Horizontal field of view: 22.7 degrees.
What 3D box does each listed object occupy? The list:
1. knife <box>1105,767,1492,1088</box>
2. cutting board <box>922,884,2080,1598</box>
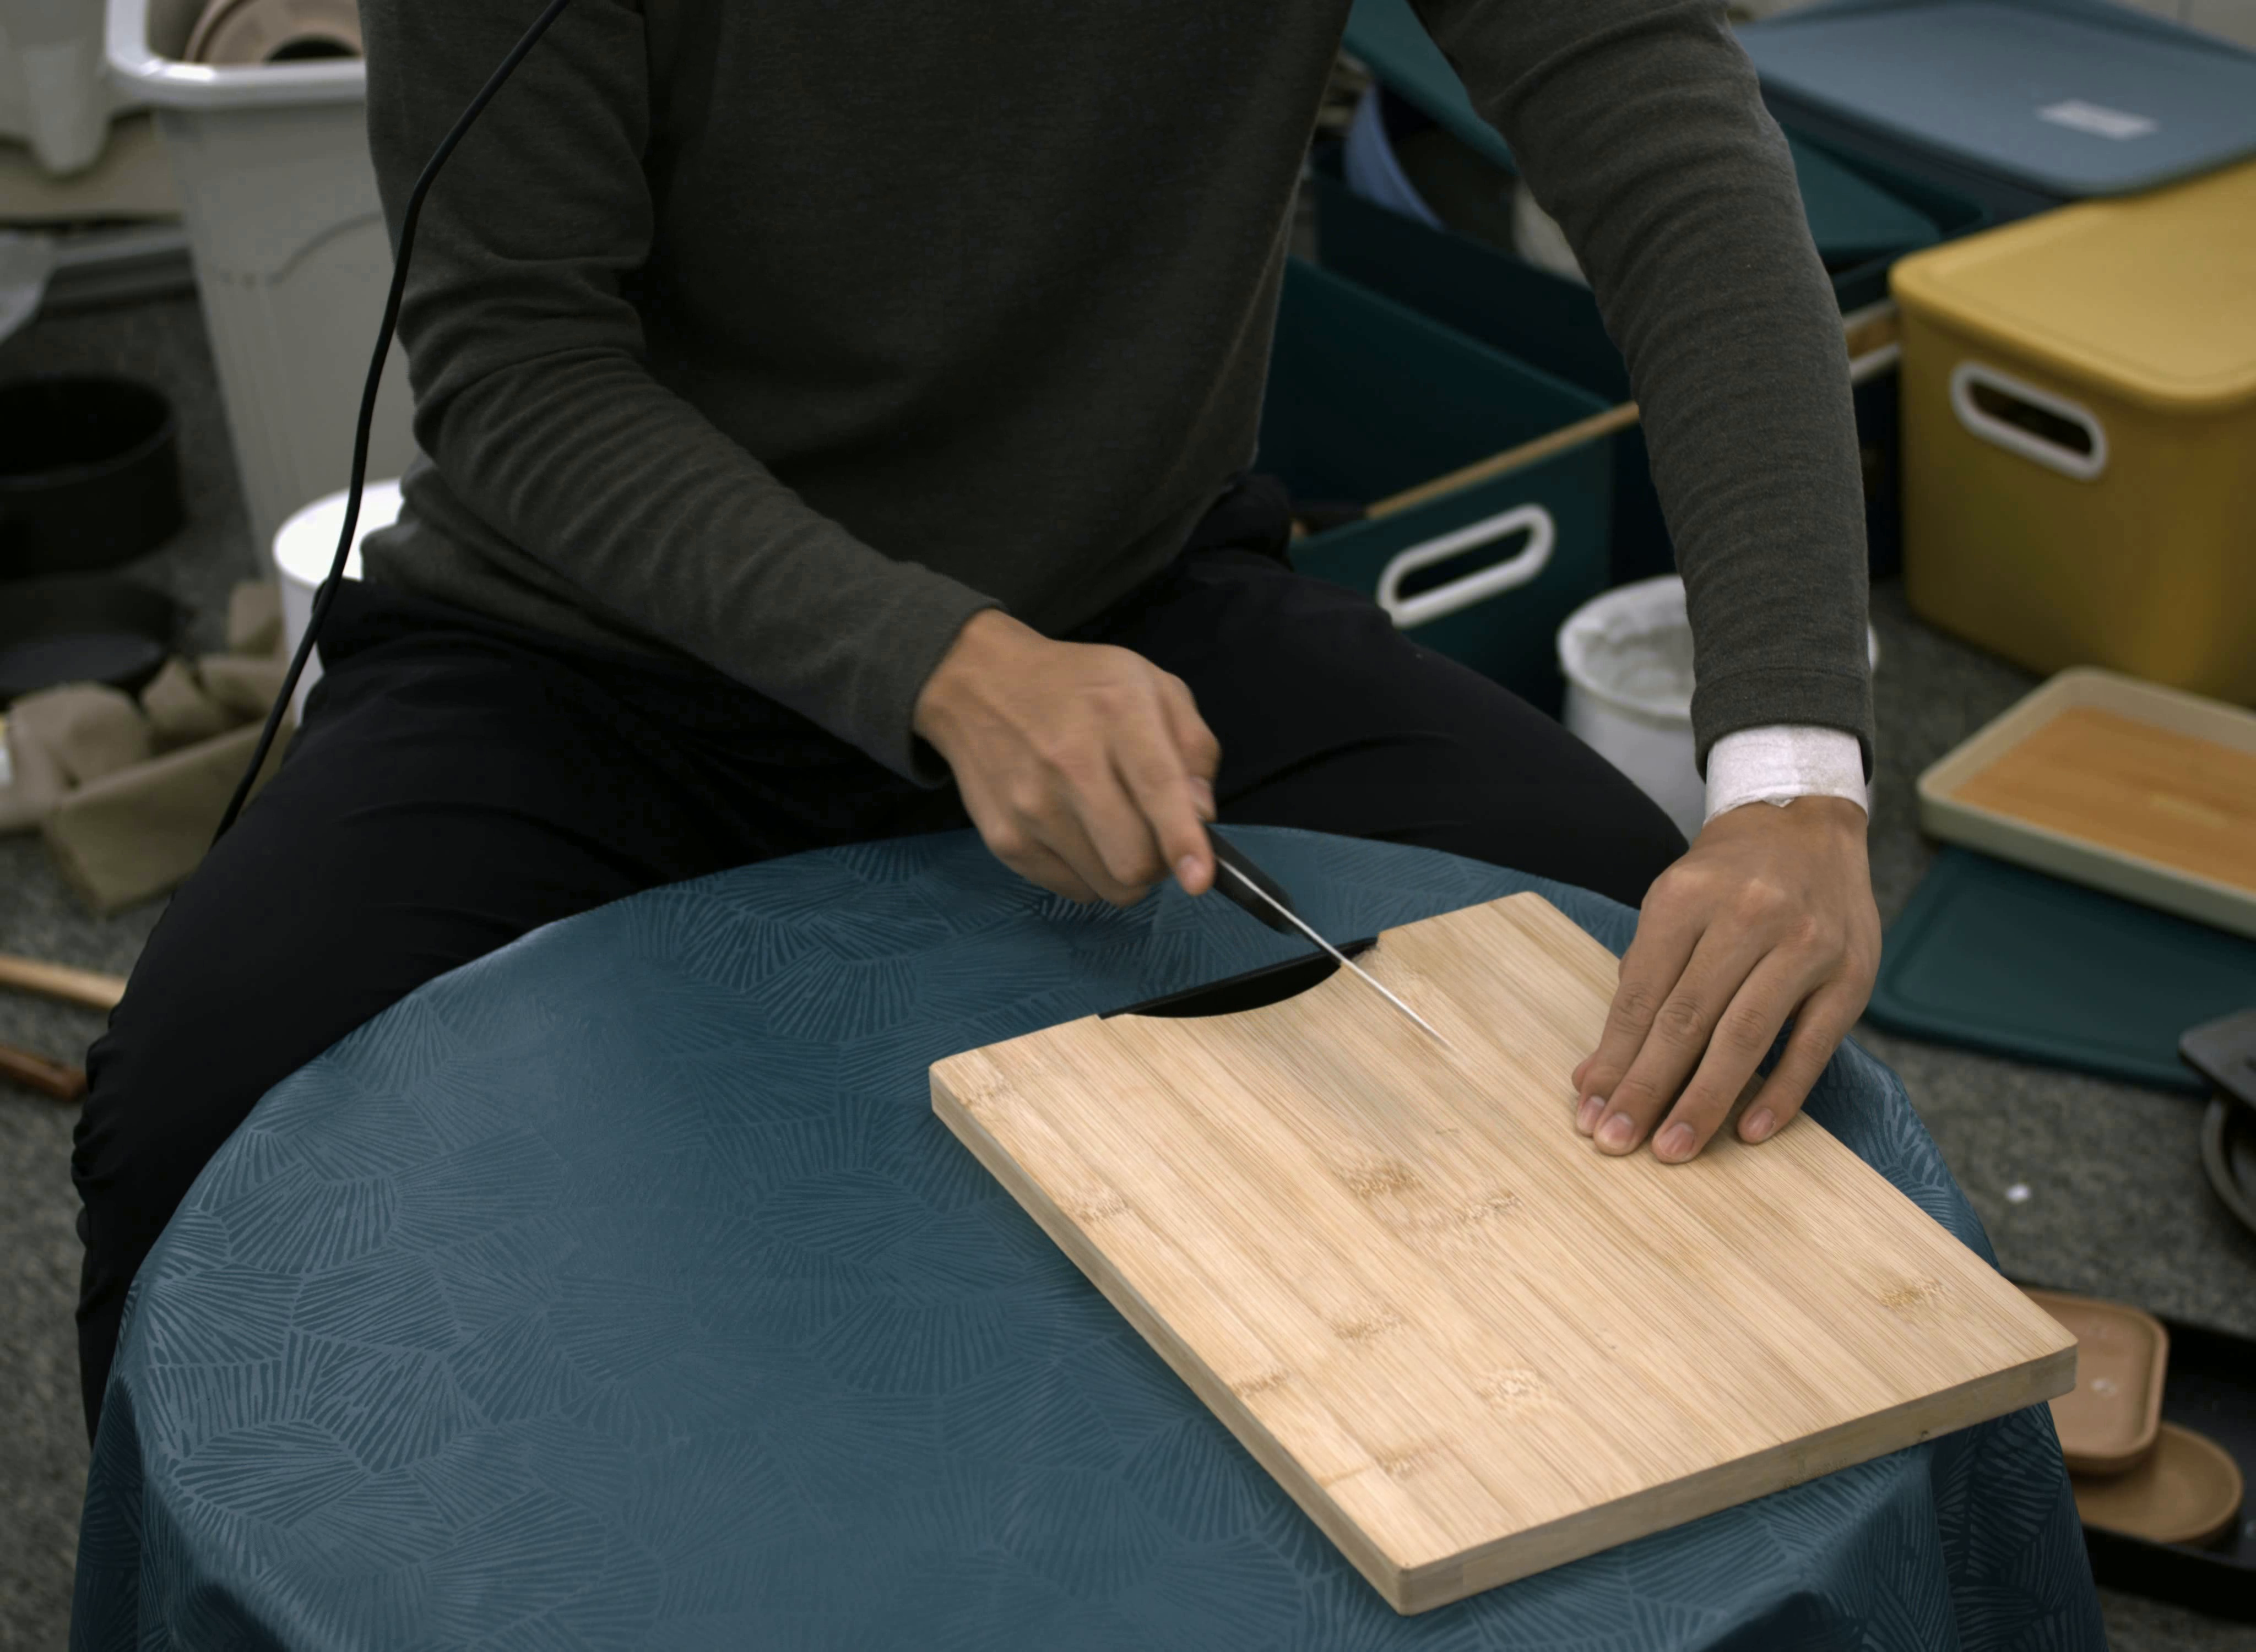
[{"bbox_3d":[0.056,0.033,1.917,0.016,0.024,0.239,-44,41,-6],"label":"knife"},{"bbox_3d":[0.111,0.126,1.826,0.252,0.023,0.350,-15,30,-23],"label":"cutting board"}]
